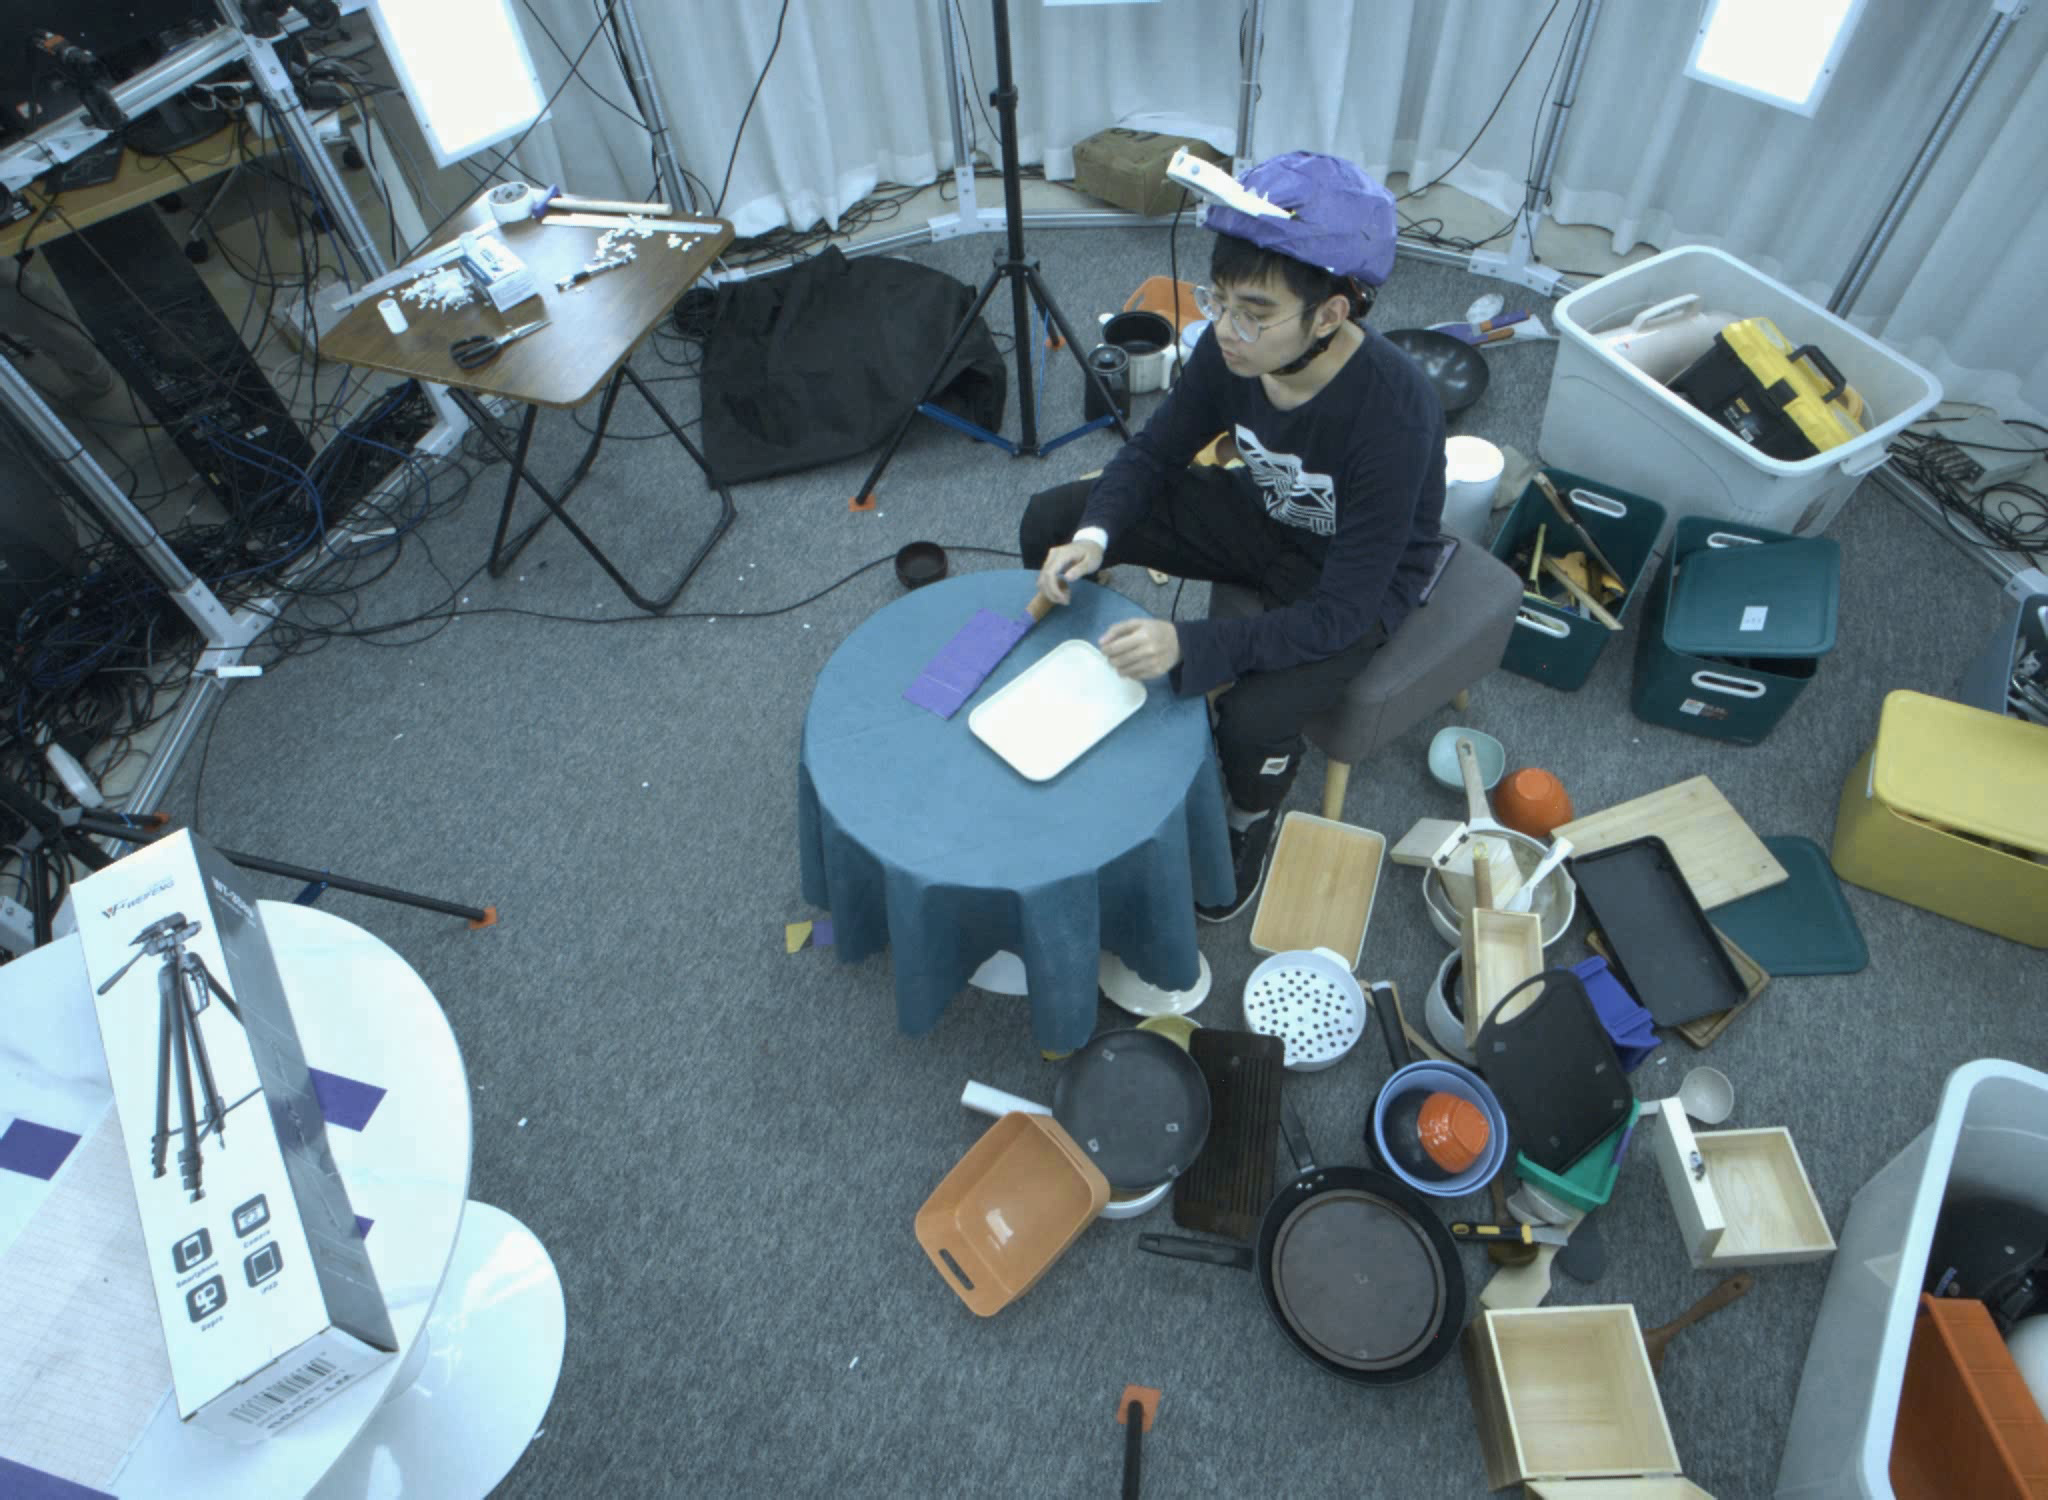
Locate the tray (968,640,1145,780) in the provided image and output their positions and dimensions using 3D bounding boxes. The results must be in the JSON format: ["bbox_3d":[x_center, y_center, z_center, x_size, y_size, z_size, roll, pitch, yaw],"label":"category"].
[{"bbox_3d":[0.049,-0.061,1.826,0.241,0.017,0.168,-38,61,-23],"label":"tray"}]

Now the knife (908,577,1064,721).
[{"bbox_3d":[-0.060,-0.173,1.904,0.102,0.032,0.316,29,60,20],"label":"knife"}]
